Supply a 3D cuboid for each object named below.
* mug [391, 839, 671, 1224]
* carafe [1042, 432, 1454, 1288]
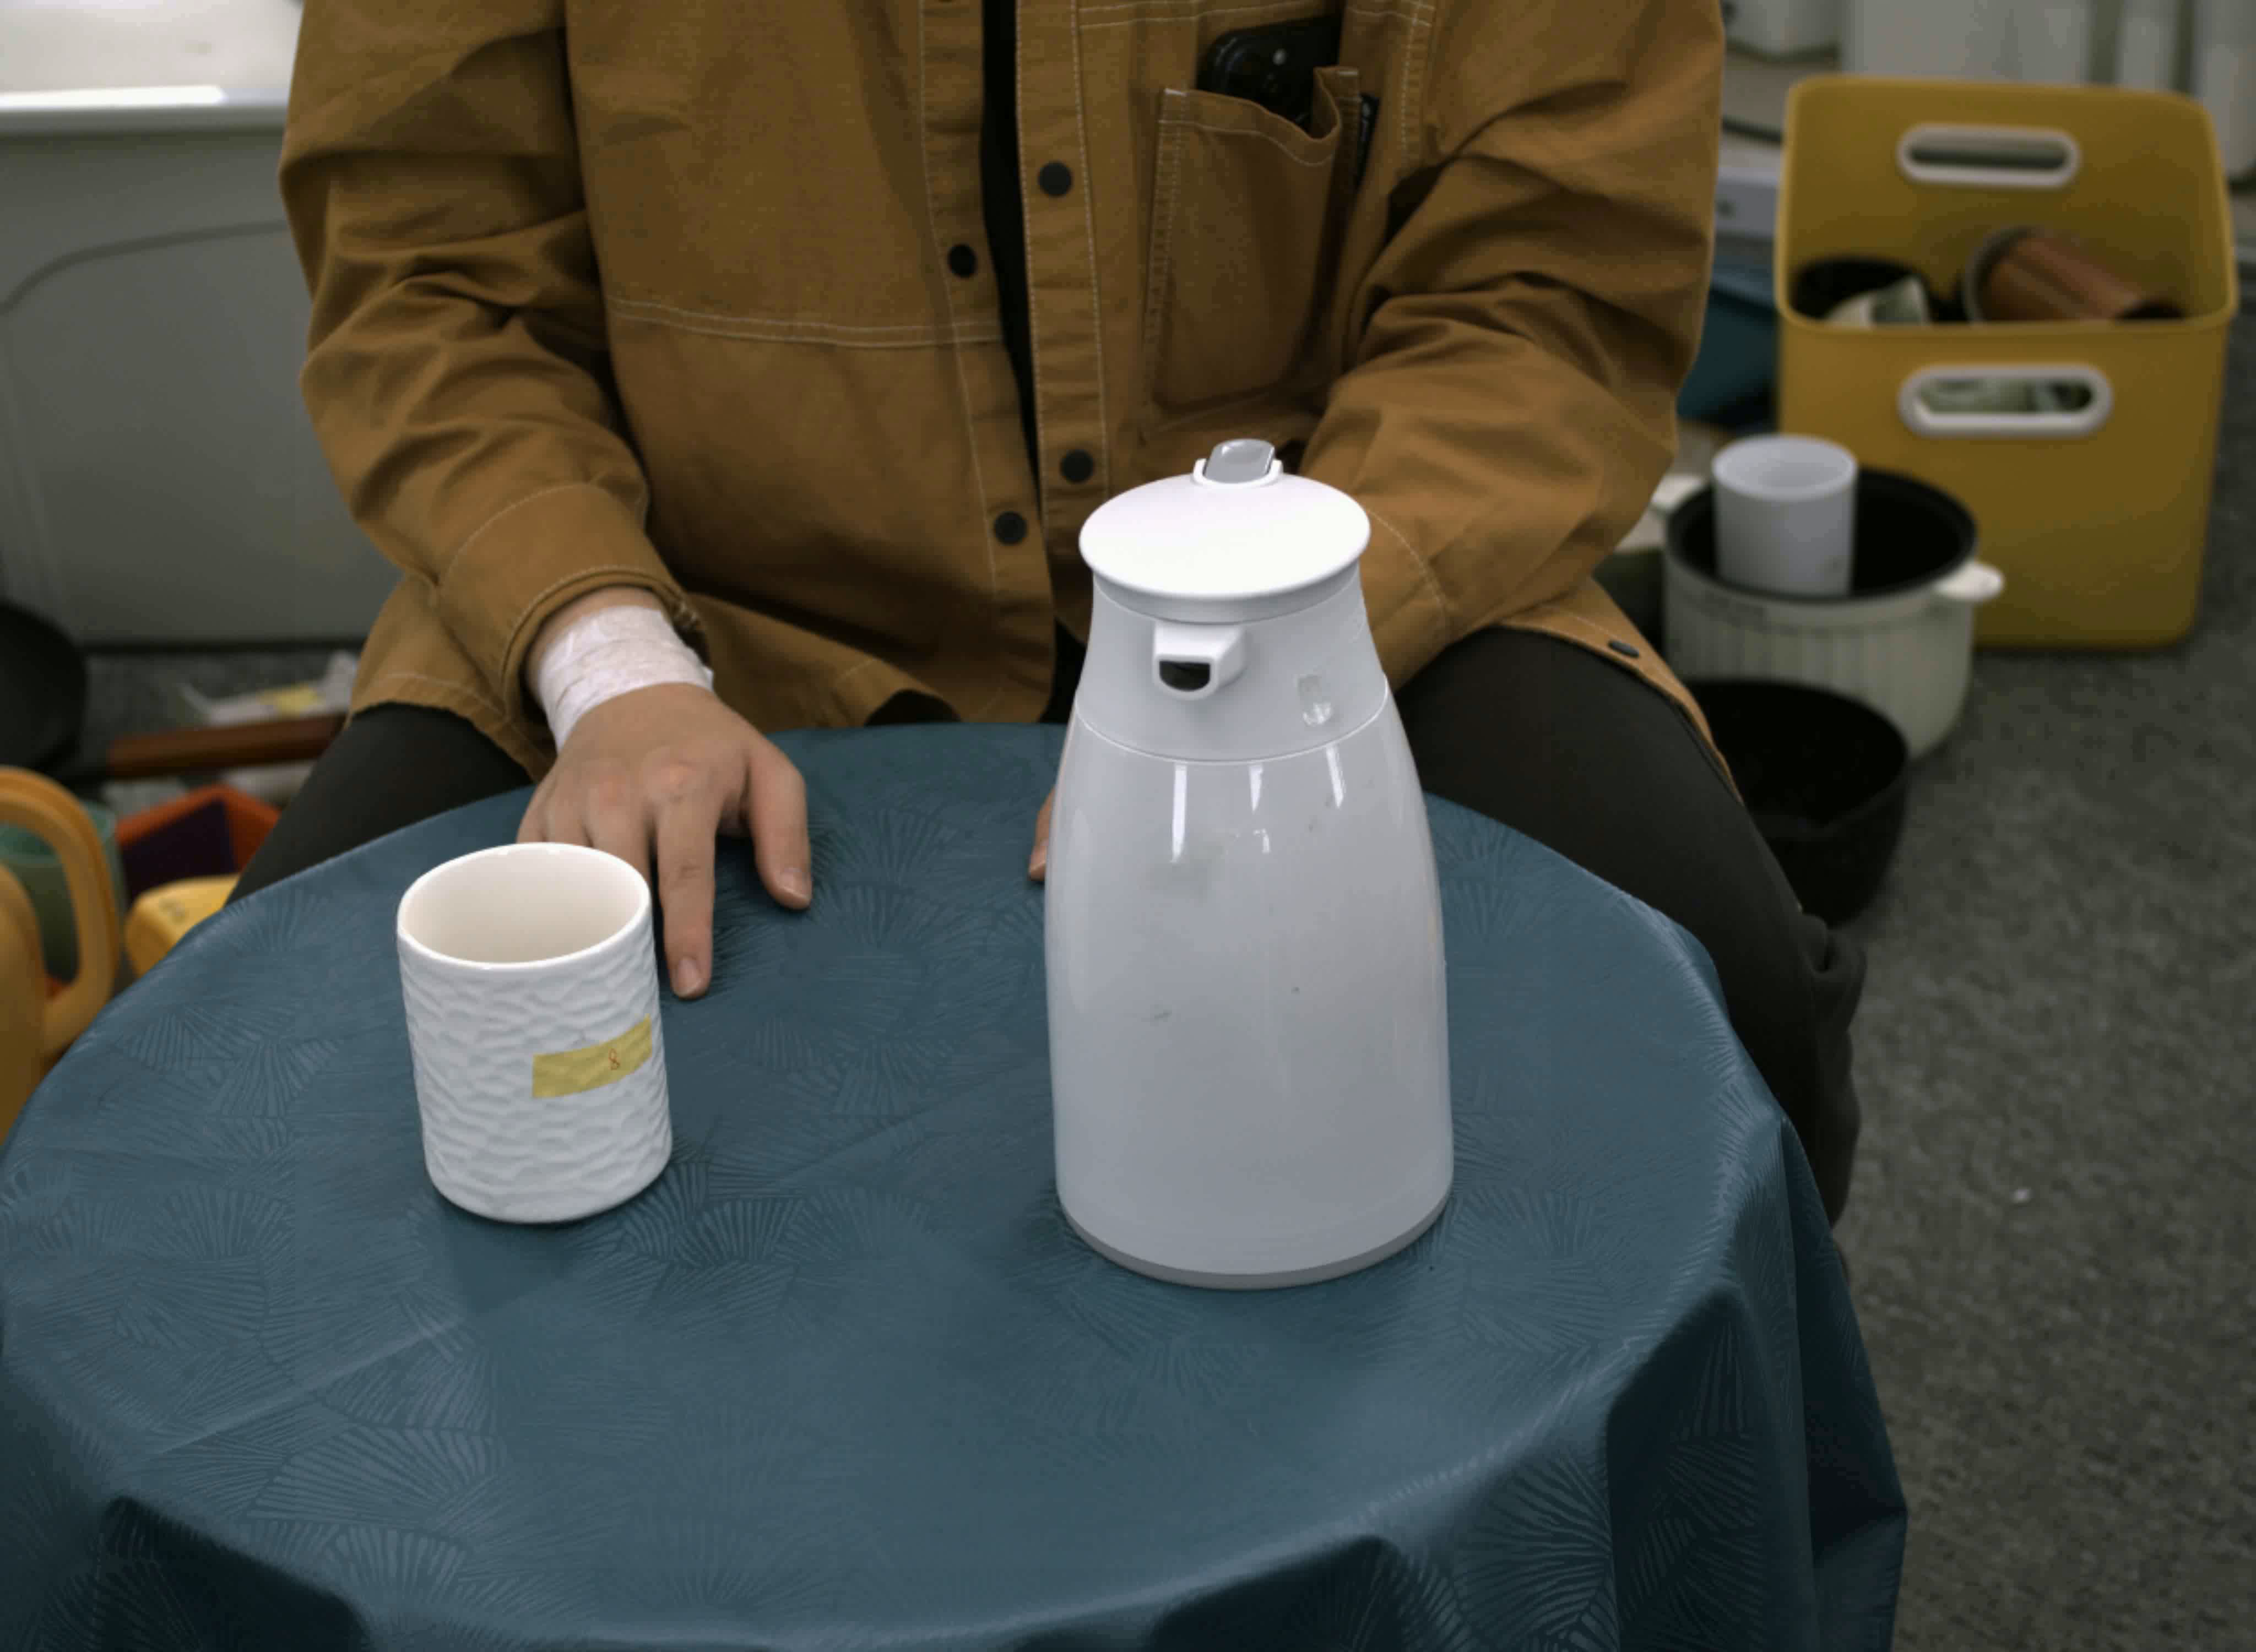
[{"bbox_3d":[-0.202,0.063,1.881,0.085,0.101,0.119,-10,28,-14],"label":"mug"},{"bbox_3d":[0.038,0.000,1.823,0.131,0.246,0.170,1,26,11],"label":"carafe"}]
